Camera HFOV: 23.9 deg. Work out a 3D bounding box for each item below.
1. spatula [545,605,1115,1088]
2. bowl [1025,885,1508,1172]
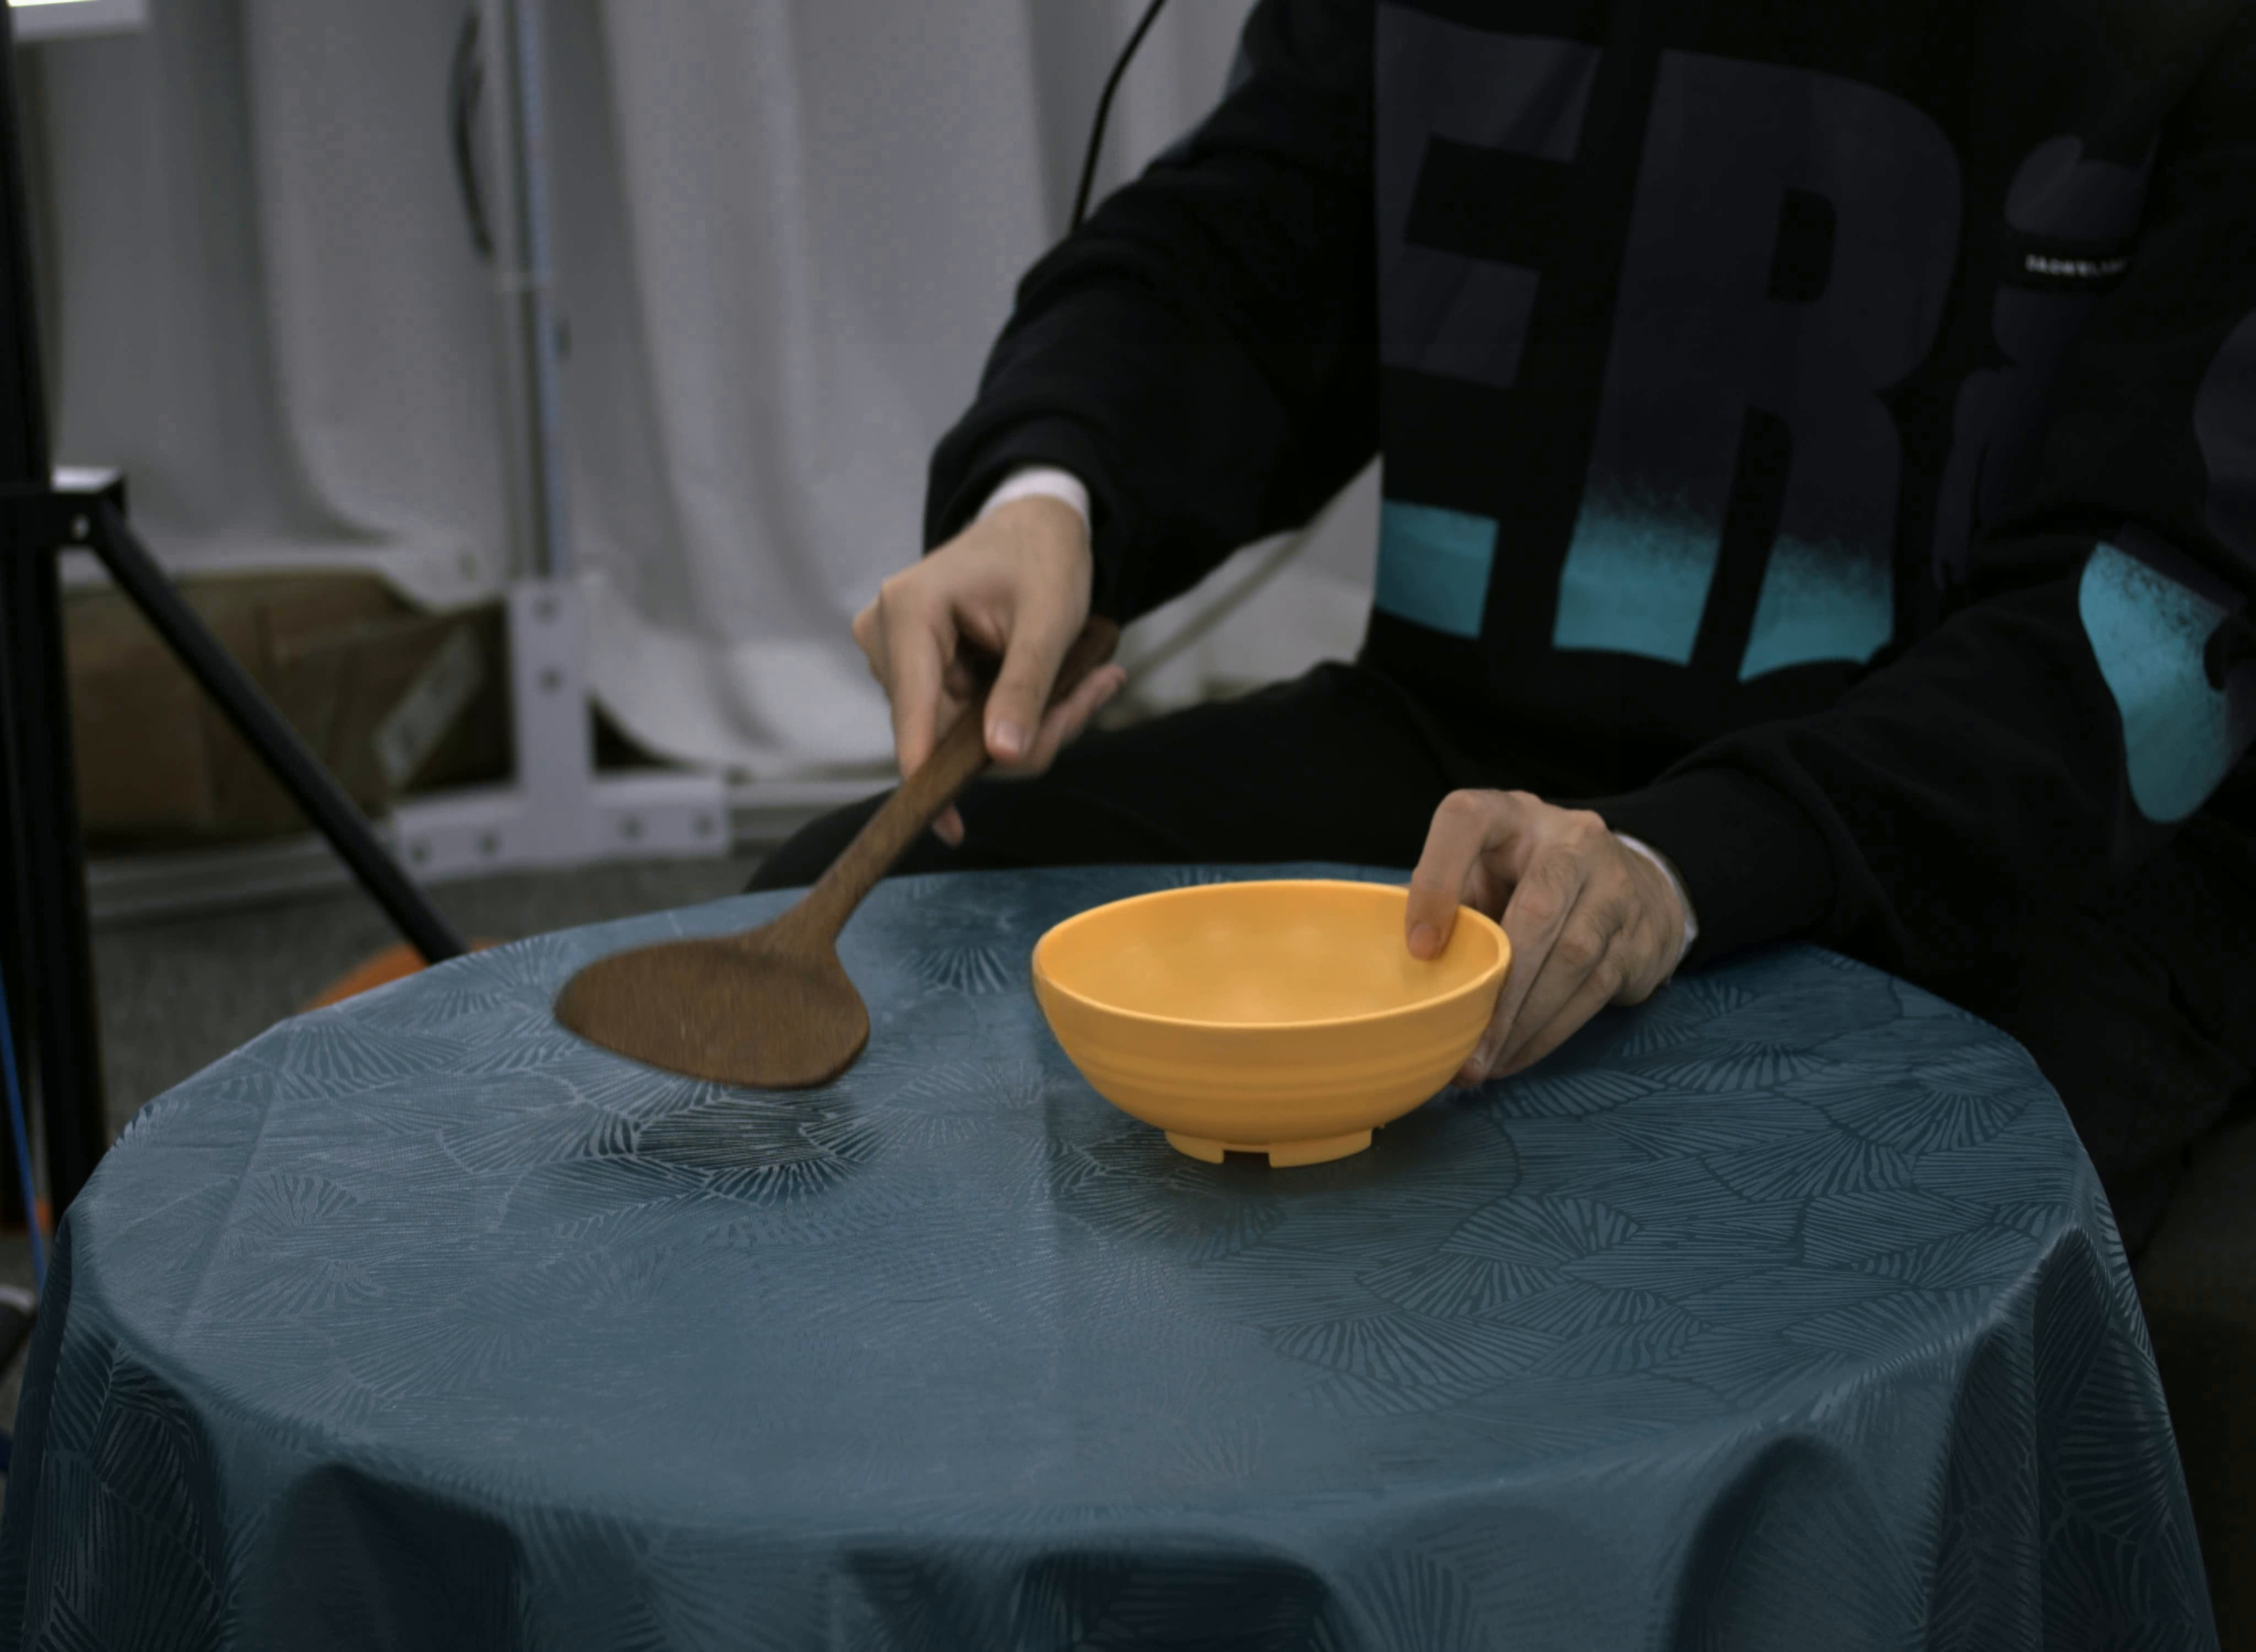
[{"bbox_3d":[-0.076,-0.003,1.748,0.097,0.016,0.382,15,28,15],"label":"spatula"},{"bbox_3d":[0.041,0.066,1.597,0.144,0.060,0.146,0,15,-1],"label":"bowl"}]
